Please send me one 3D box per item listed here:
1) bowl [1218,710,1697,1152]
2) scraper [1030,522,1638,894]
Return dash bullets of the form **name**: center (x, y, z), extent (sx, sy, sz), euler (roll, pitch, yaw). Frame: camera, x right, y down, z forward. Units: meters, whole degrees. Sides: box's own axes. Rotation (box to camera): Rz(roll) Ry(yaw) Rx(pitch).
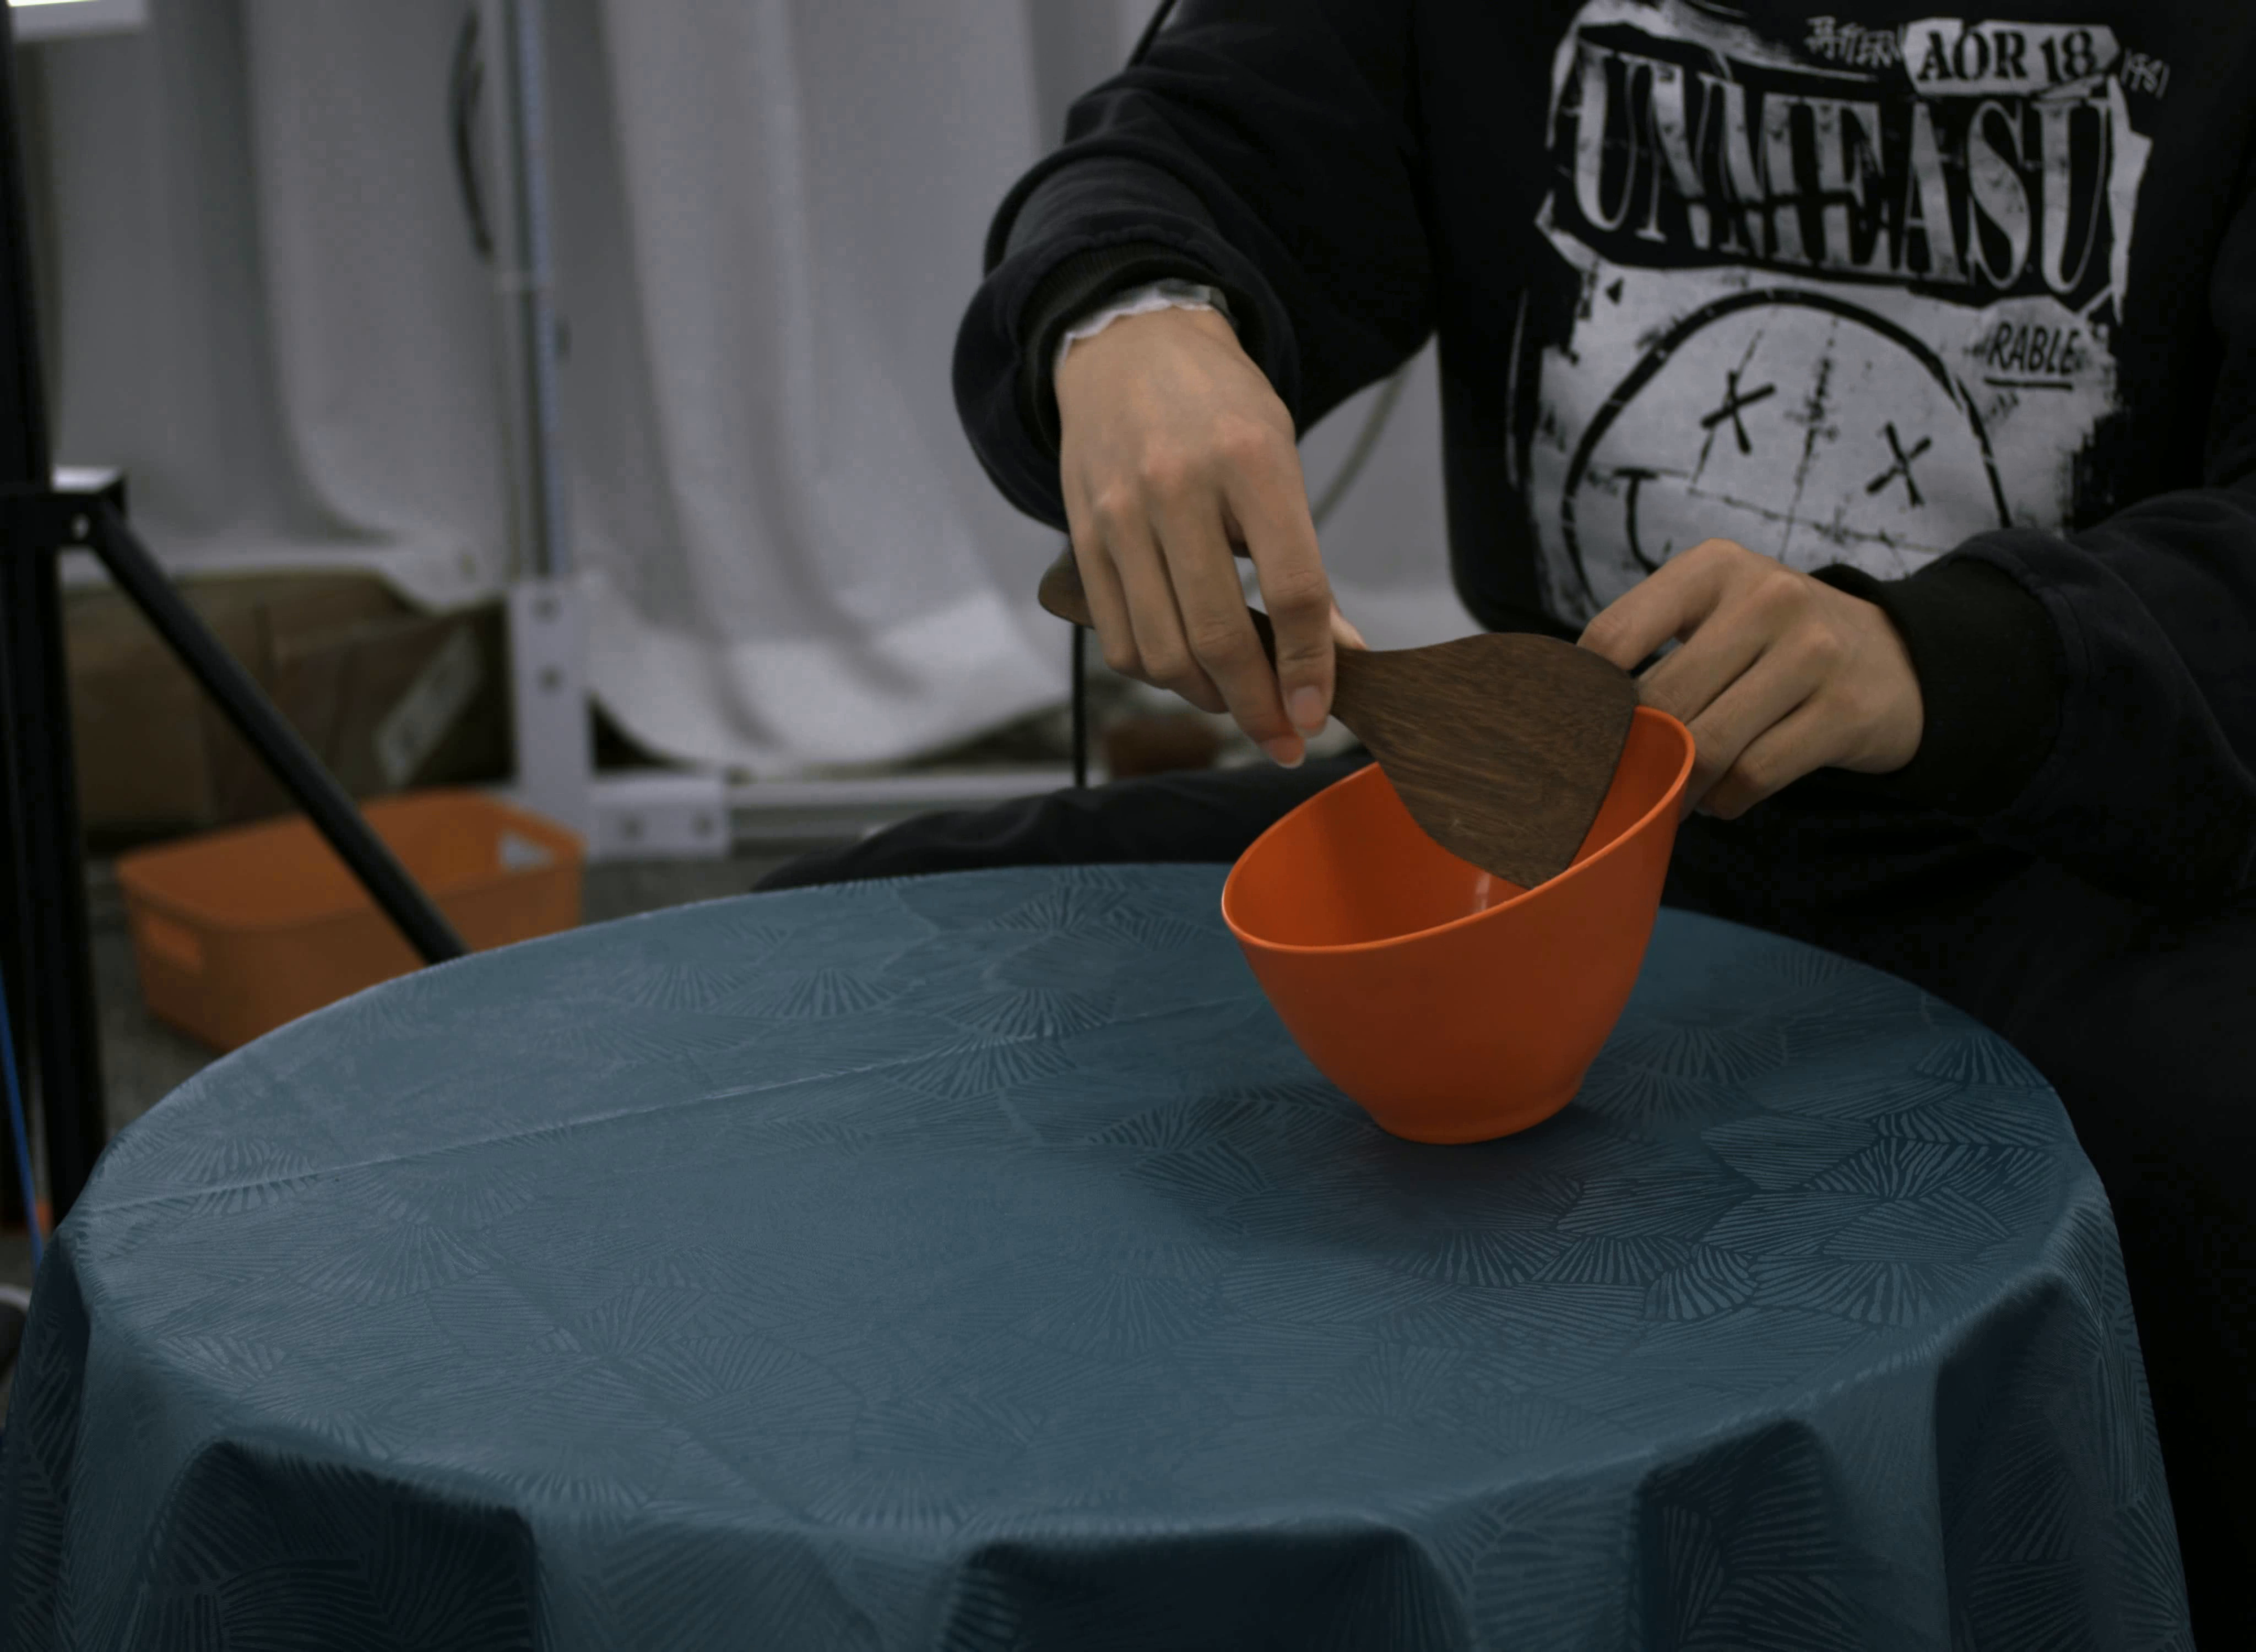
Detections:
- **bowl**: center (0.104, 0.037, 1.583), extent (0.148, 0.104, 0.149), euler (-12, 25, 4)
- **scraper**: center (0.057, -0.047, 1.600), extent (0.215, 0.076, 0.010), euler (24, 1, 31)
